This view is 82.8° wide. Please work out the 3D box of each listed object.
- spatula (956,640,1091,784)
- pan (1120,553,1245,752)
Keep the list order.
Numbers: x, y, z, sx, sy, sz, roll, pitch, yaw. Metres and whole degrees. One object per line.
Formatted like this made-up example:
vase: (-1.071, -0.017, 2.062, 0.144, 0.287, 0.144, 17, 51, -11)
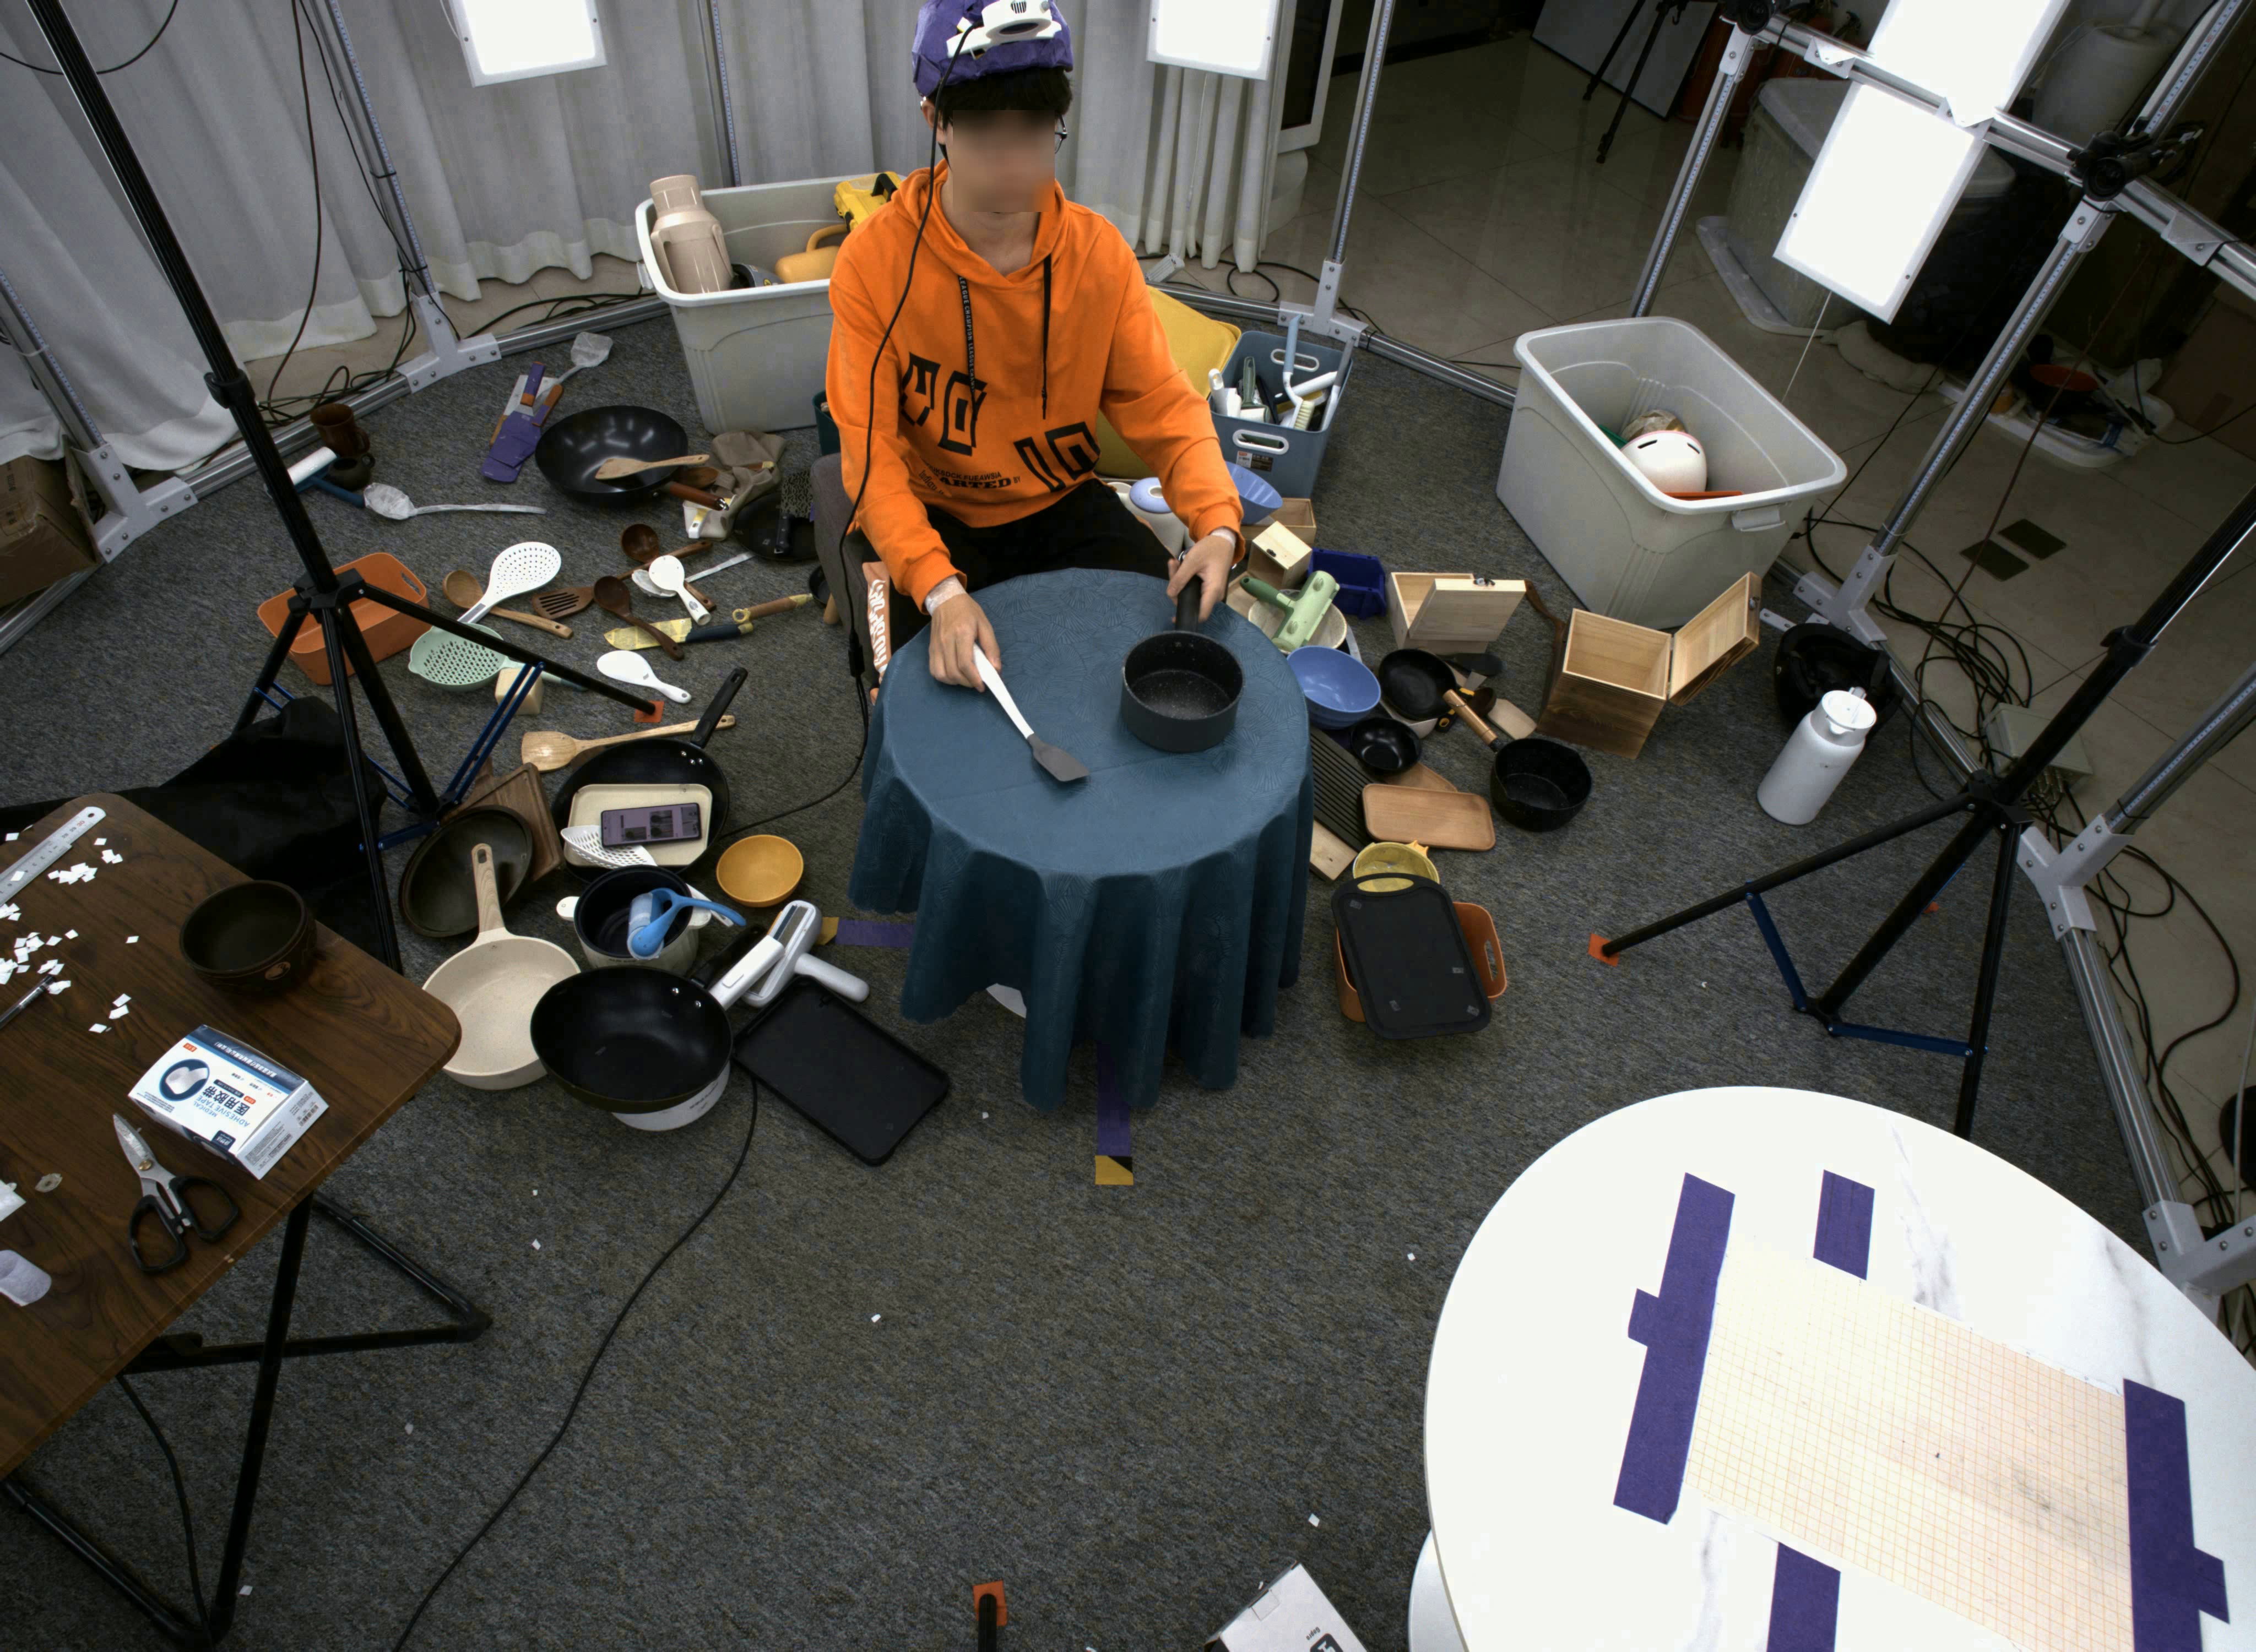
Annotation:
spatula: (-0.150, -0.154, 1.767, 0.059, 0.031, 0.293, -13, 52, -39)
pan: (0.083, -0.250, 1.833, 0.172, 0.084, 0.336, 8, 52, 2)
